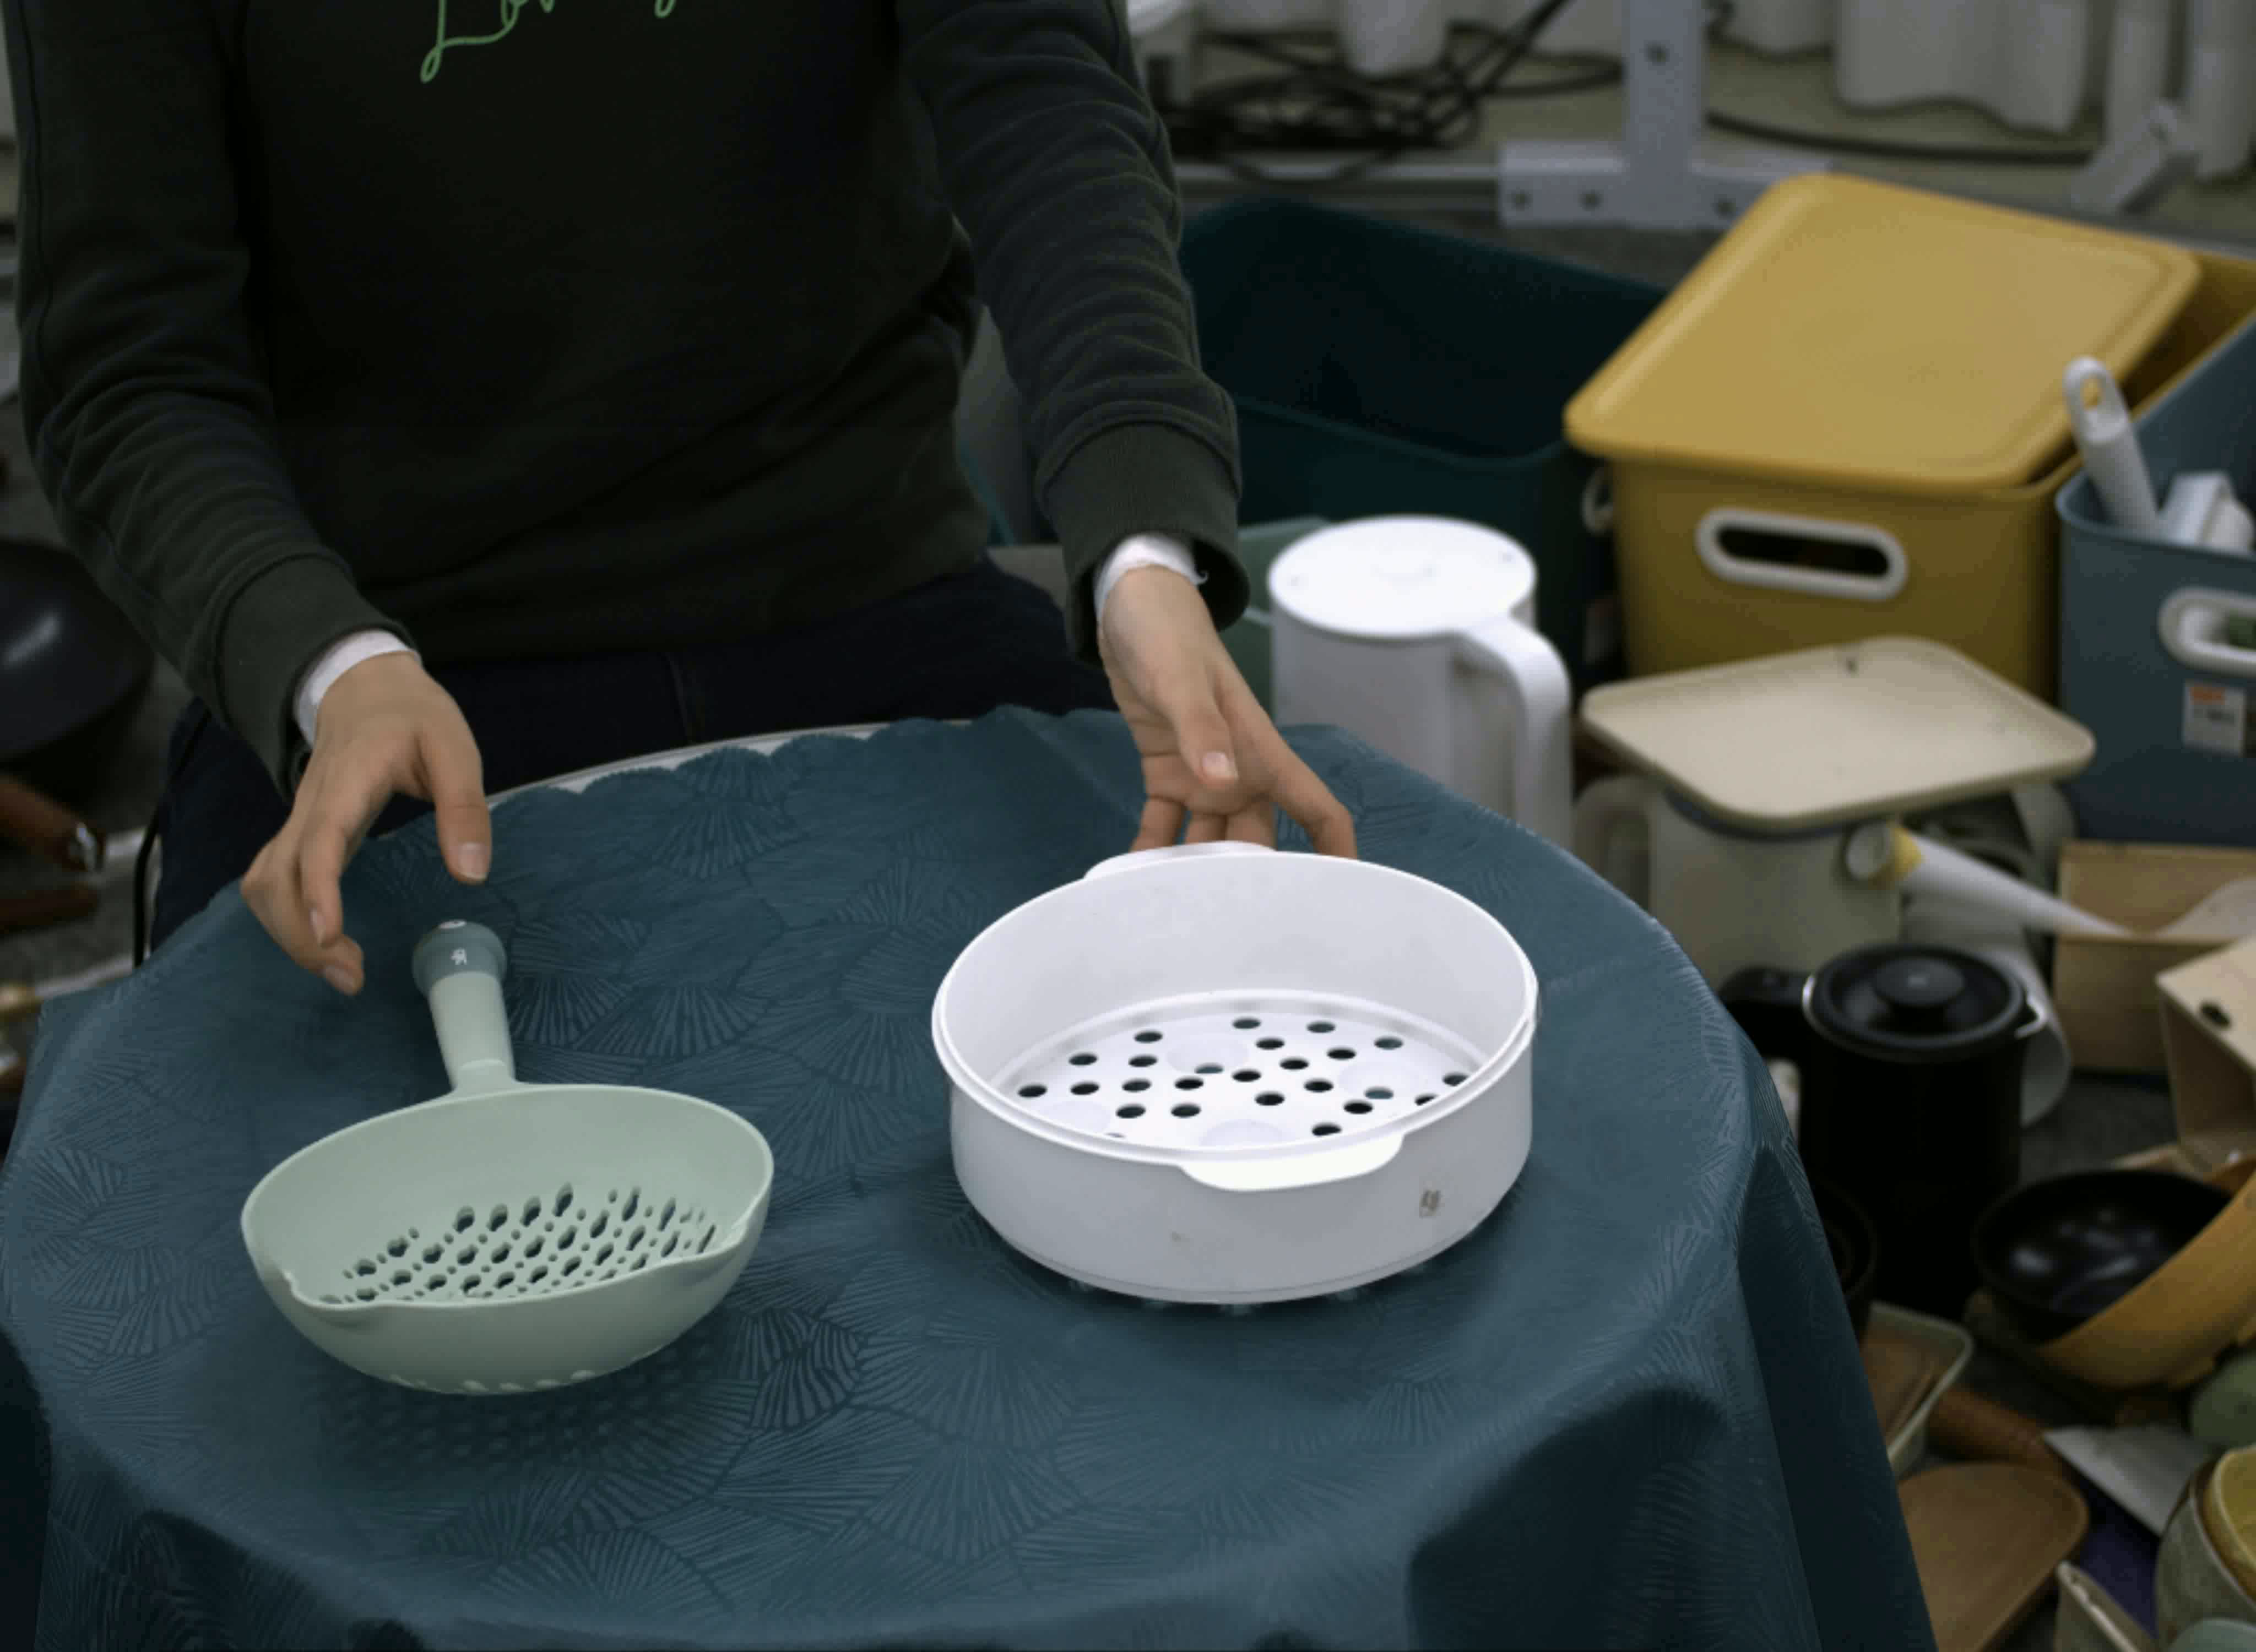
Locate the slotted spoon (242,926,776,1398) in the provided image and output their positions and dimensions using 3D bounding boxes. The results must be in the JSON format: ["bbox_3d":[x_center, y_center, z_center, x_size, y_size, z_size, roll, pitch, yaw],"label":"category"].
[{"bbox_3d":[-0.211,0.096,1.864,0.169,0.074,0.363,-7,27,-8],"label":"slotted spoon"}]

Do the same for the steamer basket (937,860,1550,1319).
[{"bbox_3d":[0.039,0.088,1.854,0.201,0.068,0.233,-7,27,-9],"label":"steamer basket"}]
